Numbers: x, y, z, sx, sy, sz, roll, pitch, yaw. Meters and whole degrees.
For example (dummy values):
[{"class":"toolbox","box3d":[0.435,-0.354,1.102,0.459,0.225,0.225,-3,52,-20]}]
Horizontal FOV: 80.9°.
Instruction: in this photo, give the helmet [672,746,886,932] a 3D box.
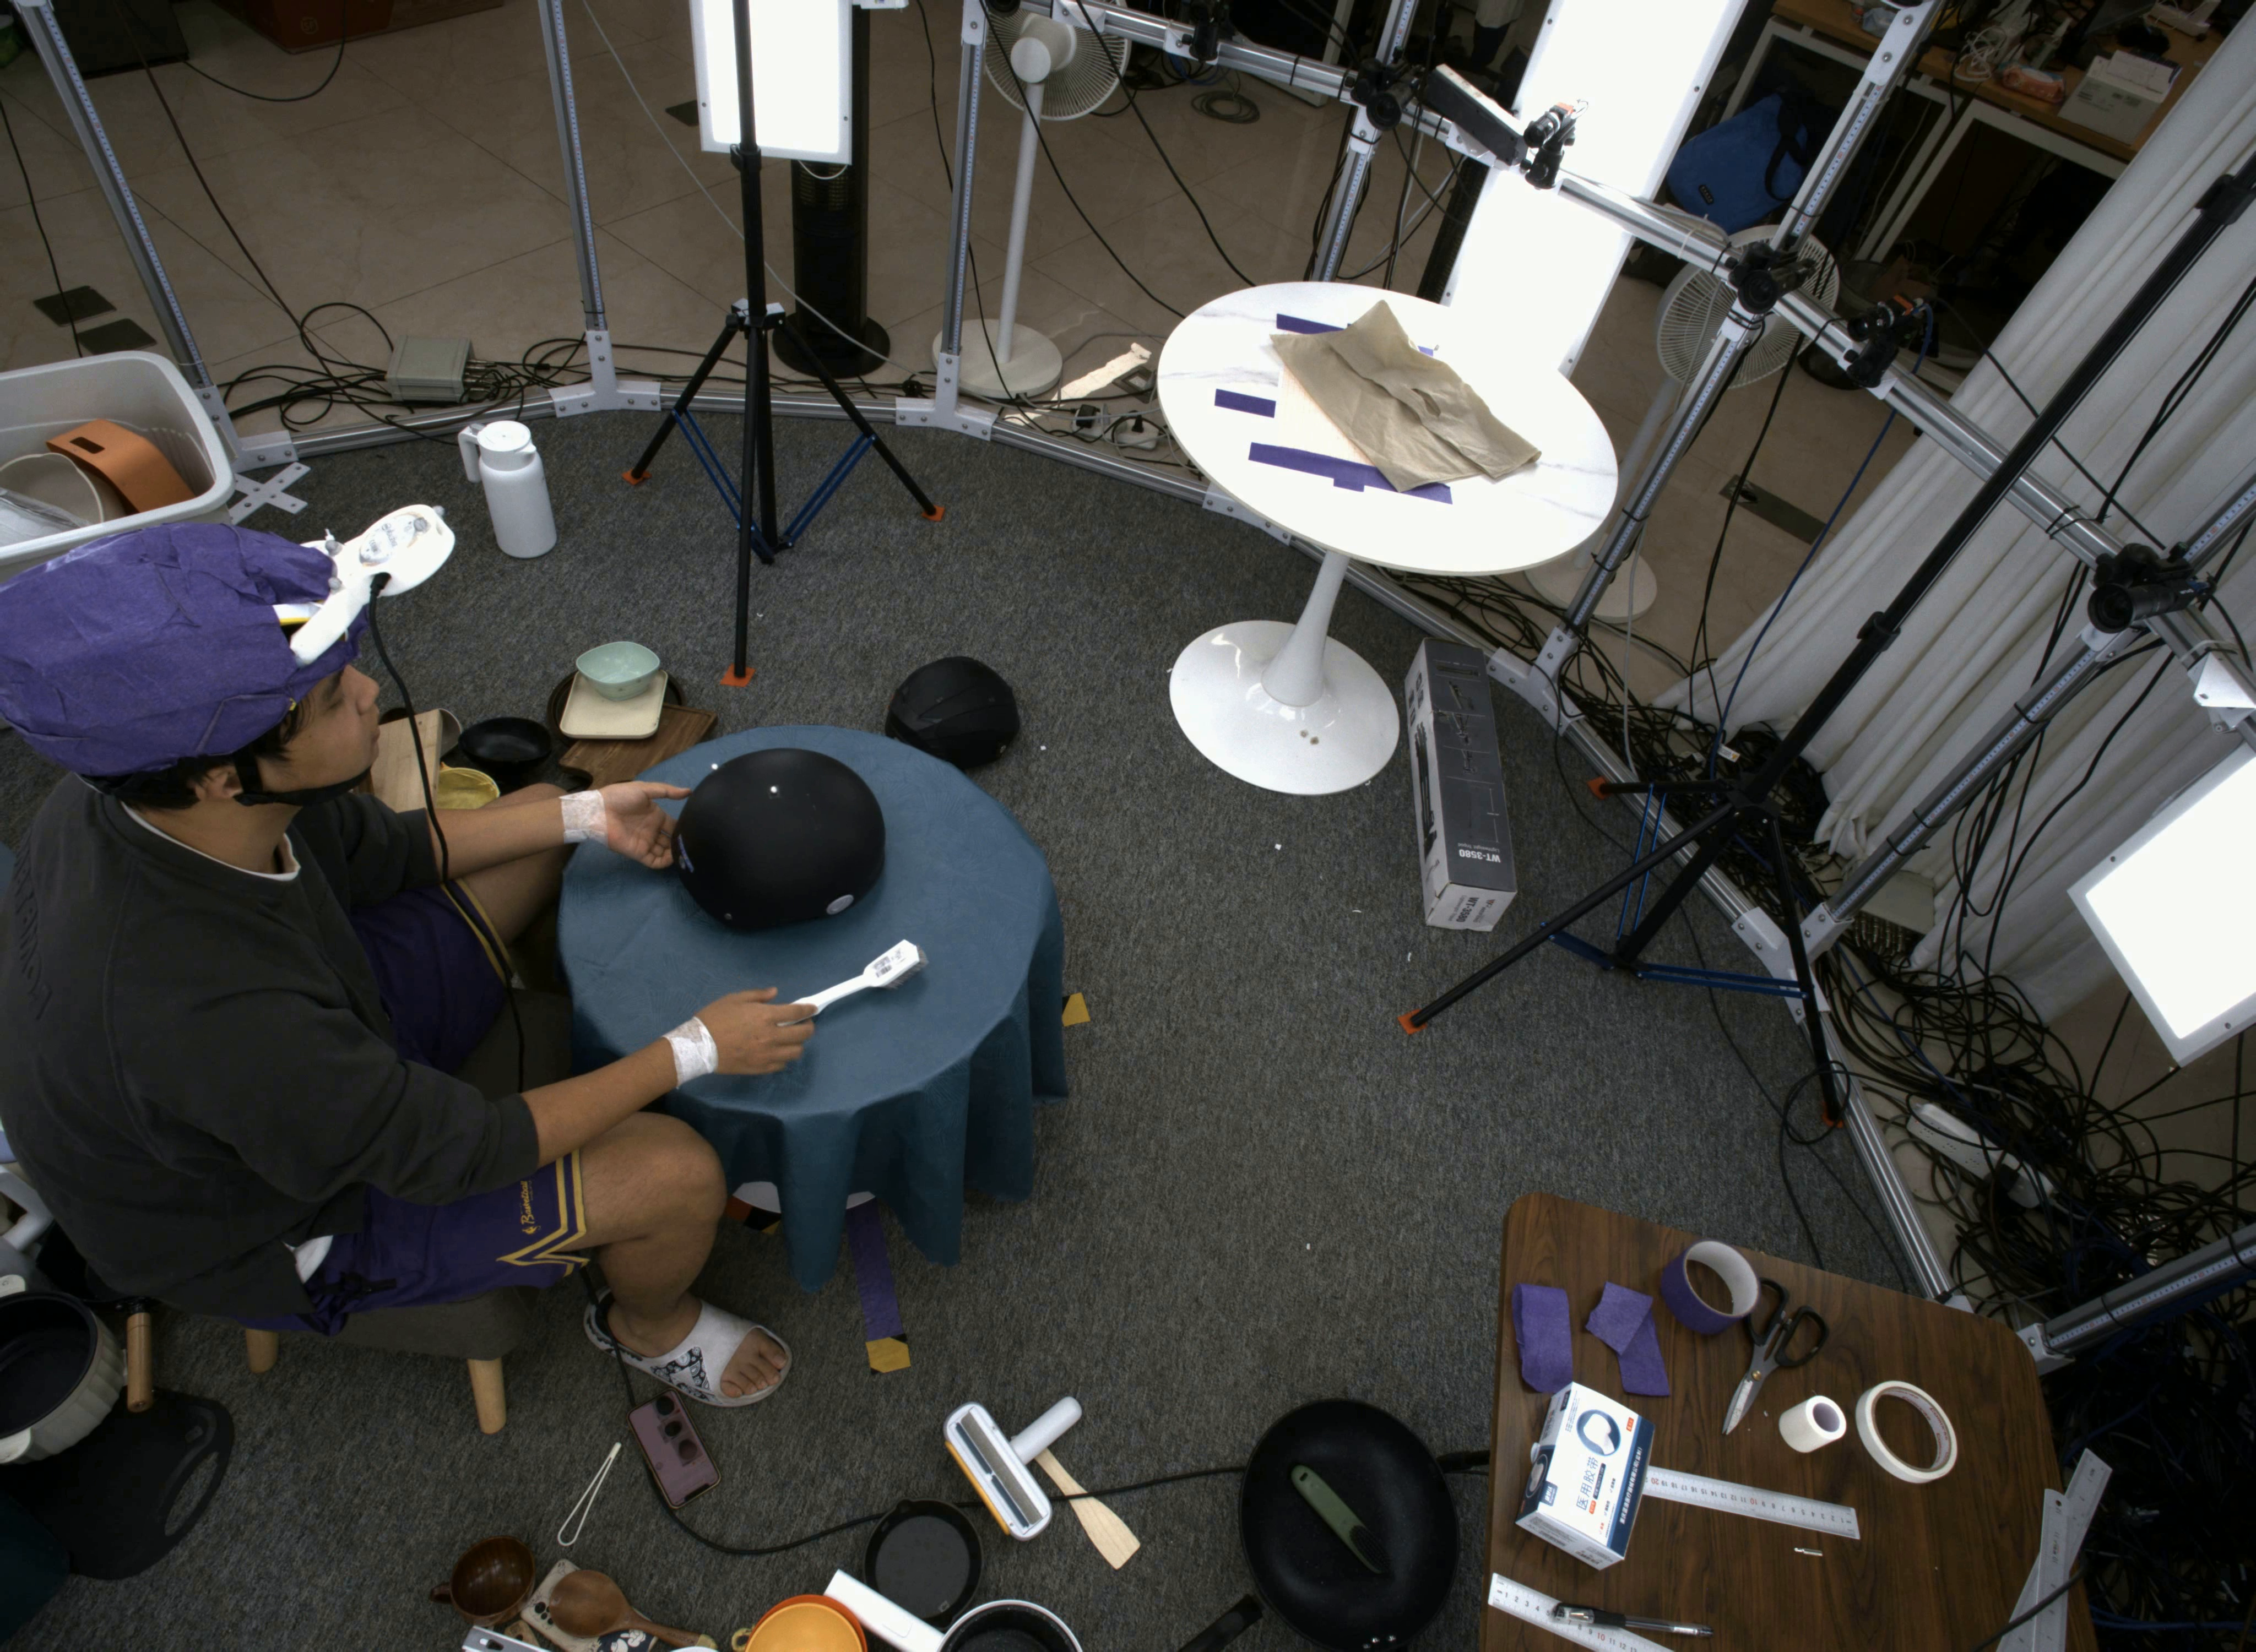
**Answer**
[{"class":"helmet","box3d":[-0.430,-0.003,1.618,0.275,0.168,0.226,-12,65,-26]}]

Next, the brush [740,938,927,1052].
[{"class":"brush","box3d":[-0.356,0.208,1.576,0.243,0.051,0.033,-30,67,-16]}]
